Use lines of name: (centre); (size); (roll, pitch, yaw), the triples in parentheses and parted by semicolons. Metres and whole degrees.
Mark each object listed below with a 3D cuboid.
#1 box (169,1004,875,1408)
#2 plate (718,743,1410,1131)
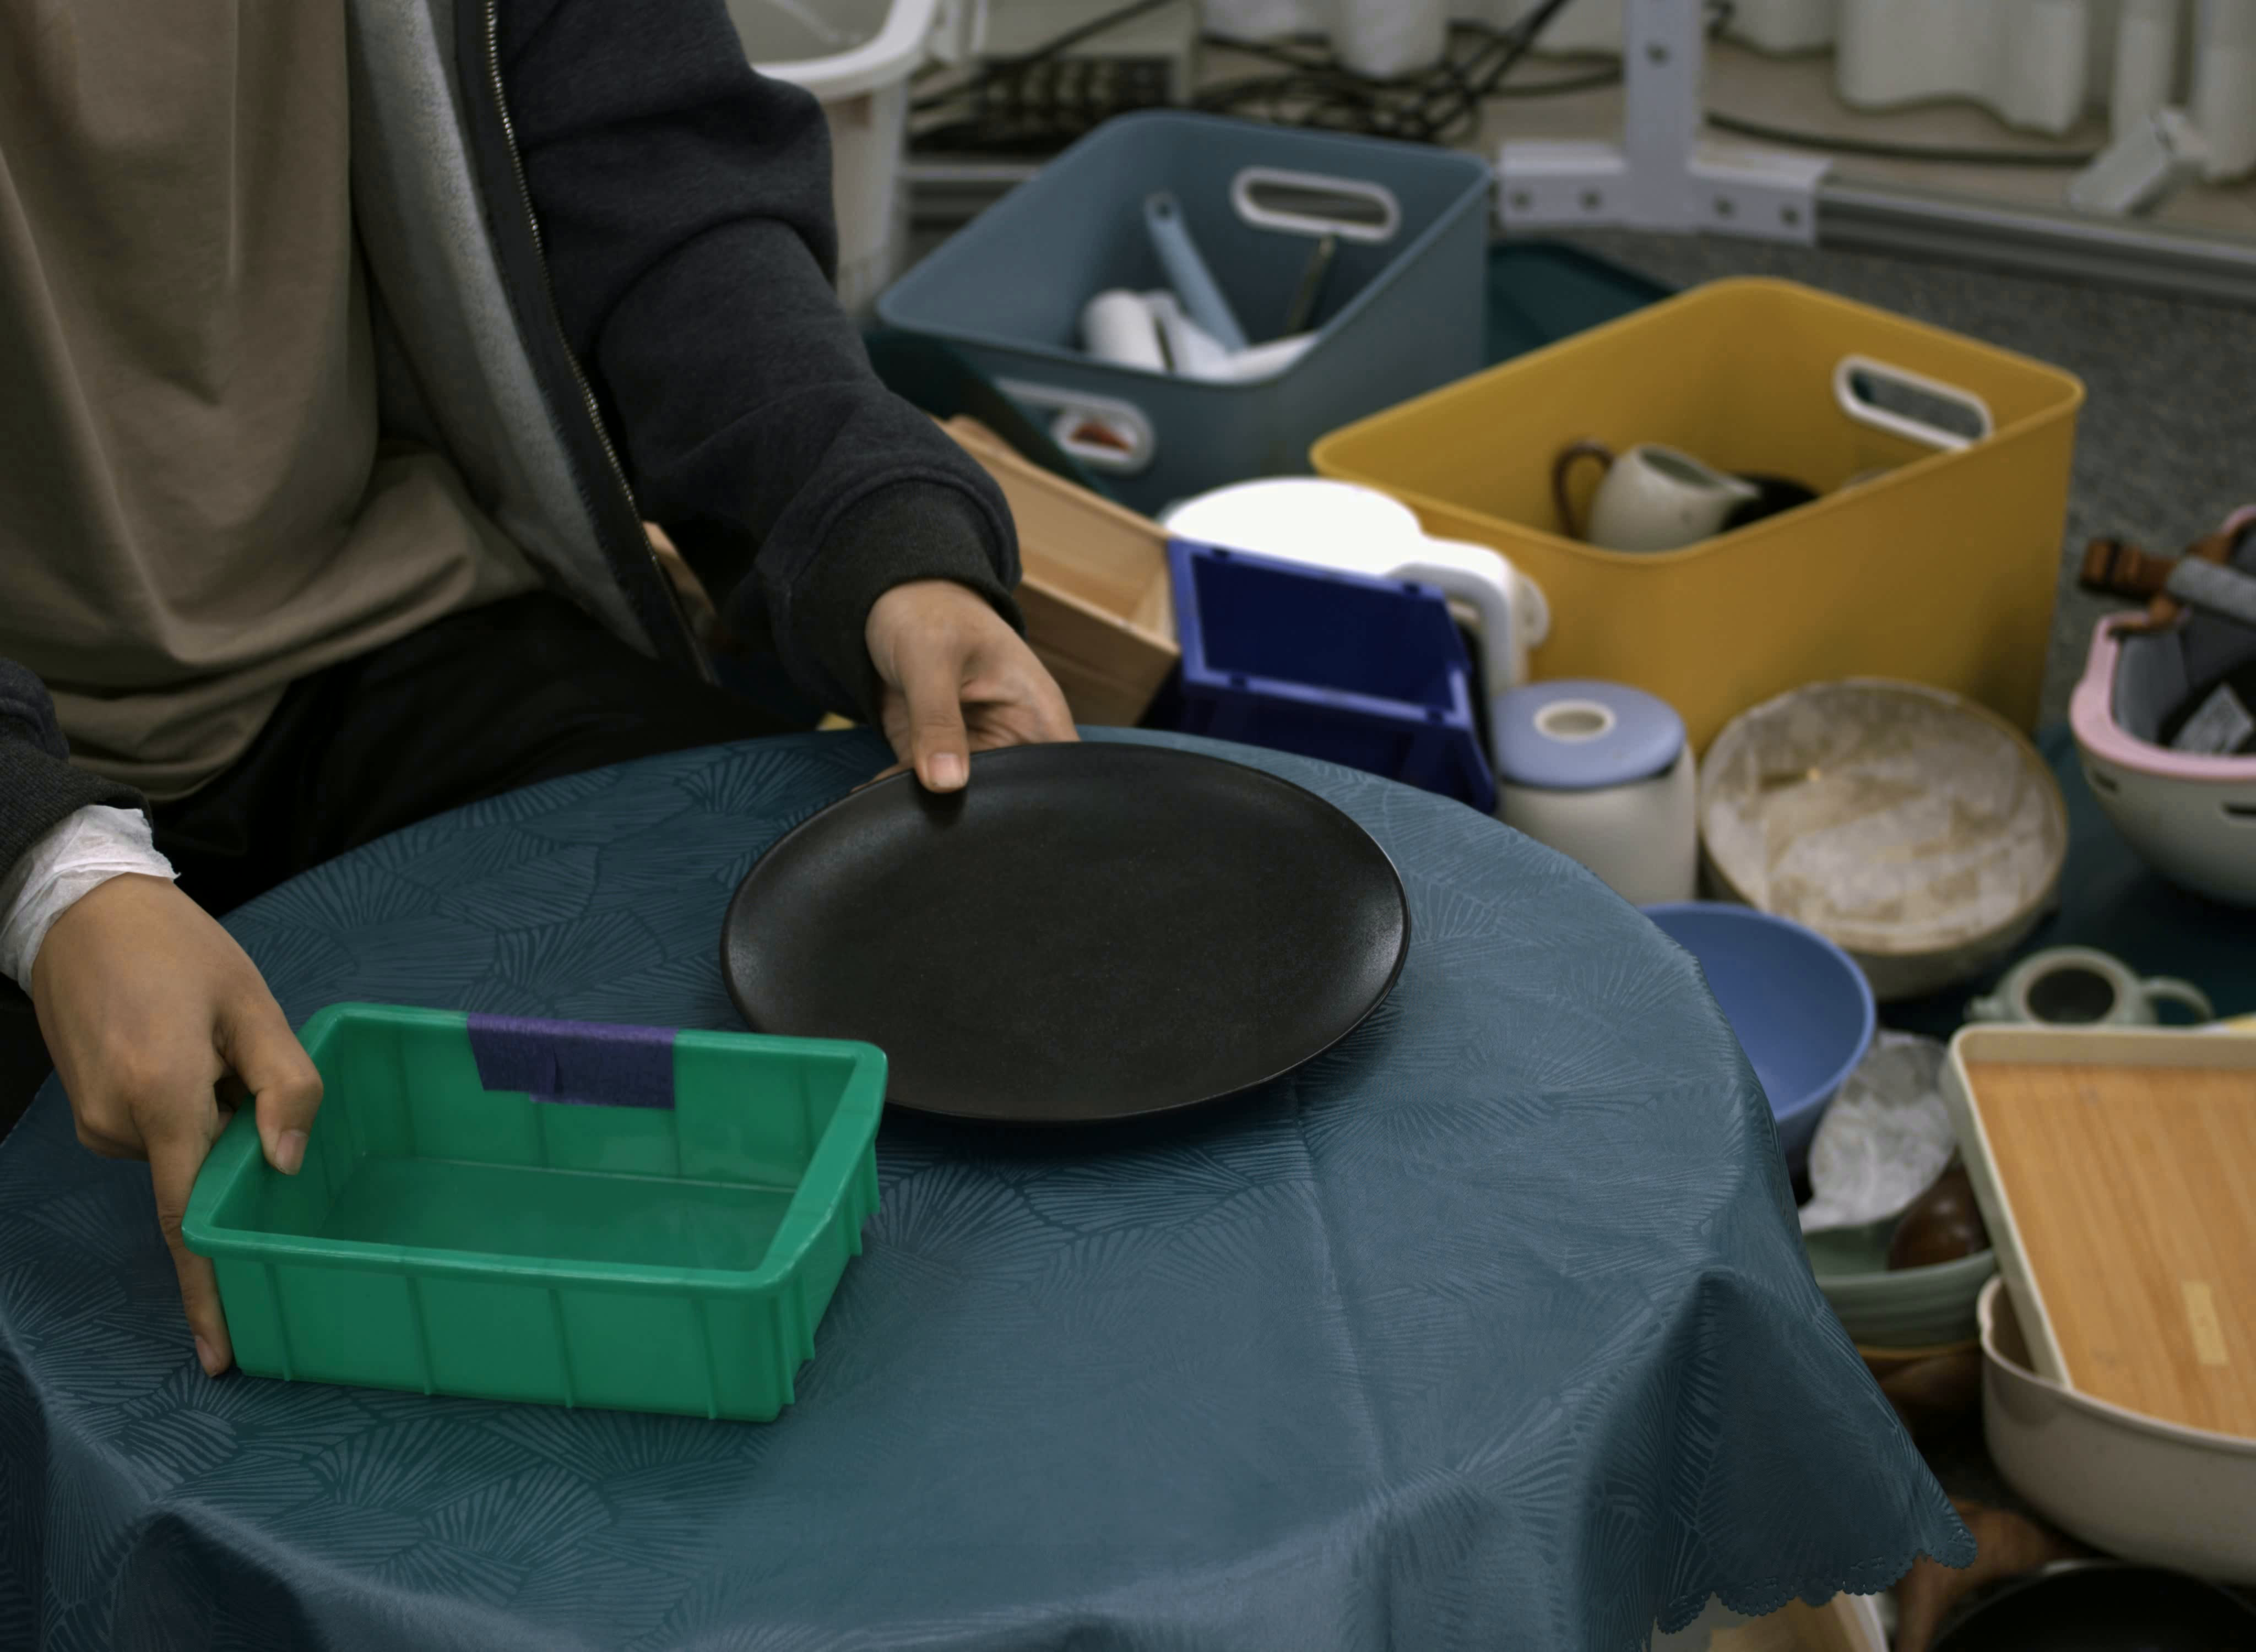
box: (-0.188, 0.123, 1.799); (0.209, 0.064, 0.141); (1, 30, 13)
plate: (-0.022, 0.043, 1.977); (0.243, 0.023, 0.248); (-1, 32, 1)
